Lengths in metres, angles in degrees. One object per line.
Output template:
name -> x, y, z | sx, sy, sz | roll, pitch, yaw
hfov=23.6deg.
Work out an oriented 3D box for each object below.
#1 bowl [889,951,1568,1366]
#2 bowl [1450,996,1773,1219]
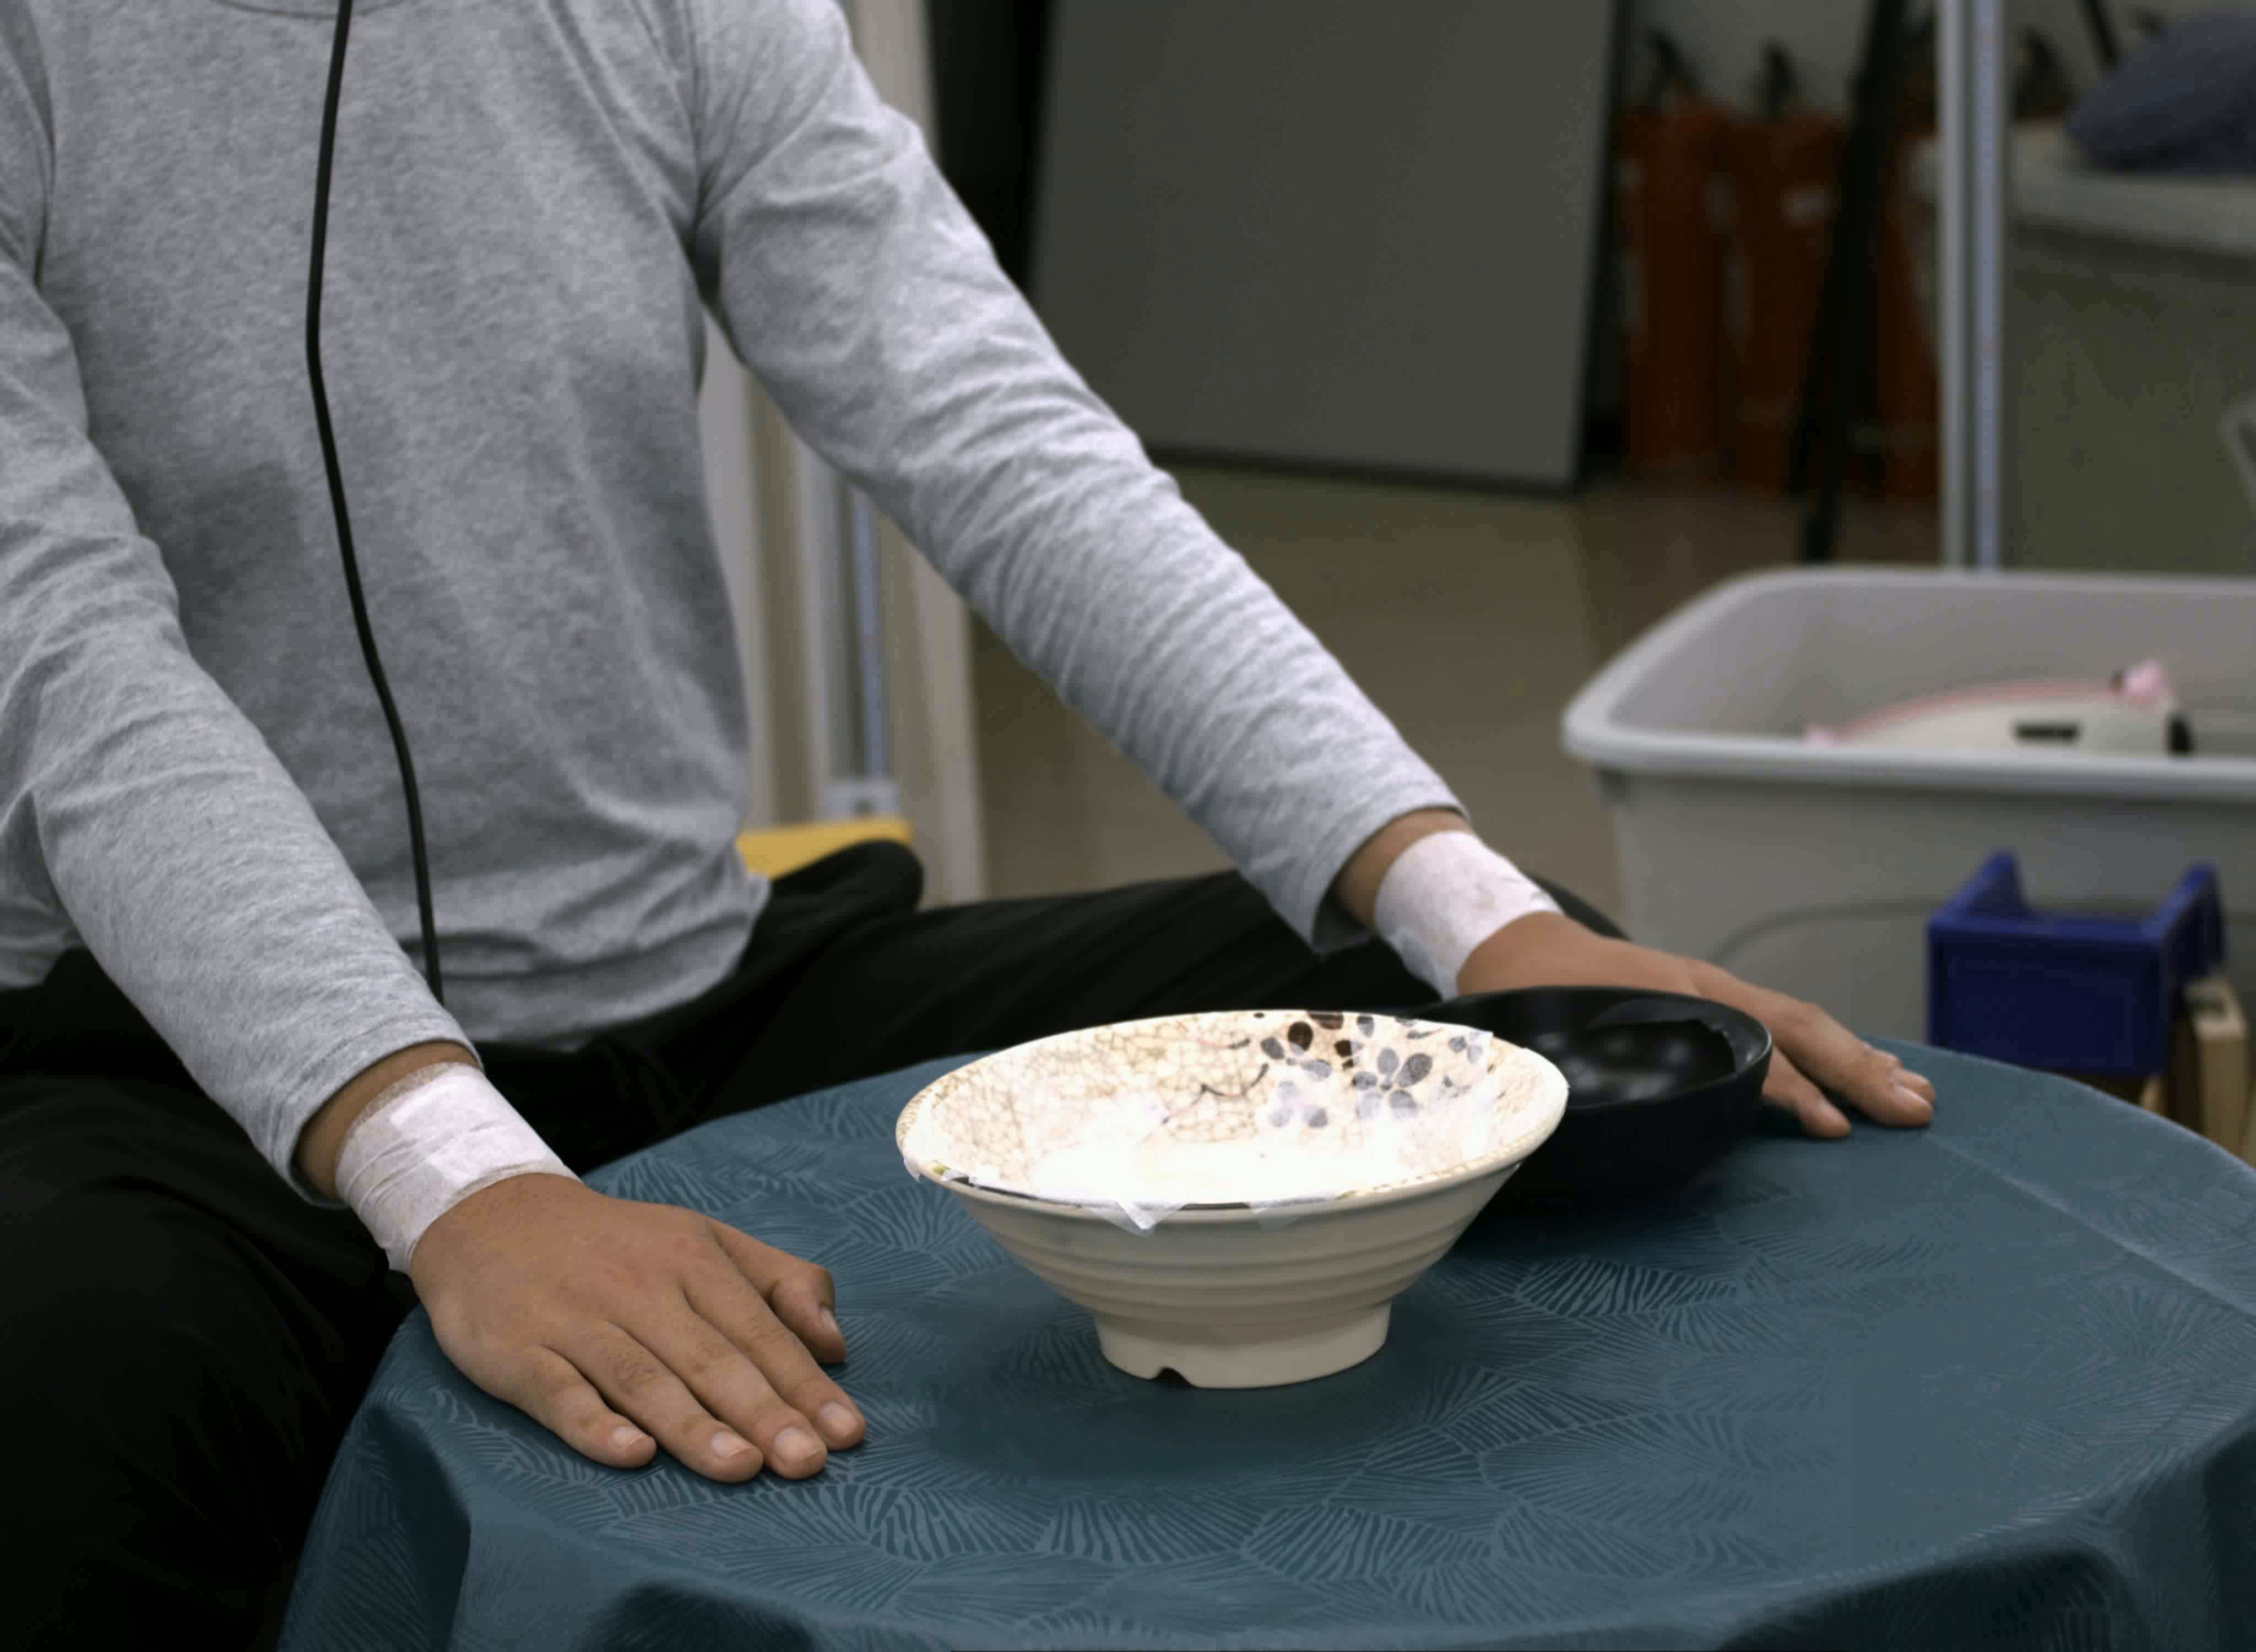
bowl -> 0.028, 0.107, 1.603 | 0.201, 0.079, 0.204 | 2, 18, -2
bowl -> 0.141, 0.094, 1.742 | 0.138, 0.050, 0.140 | -3, 11, 0
